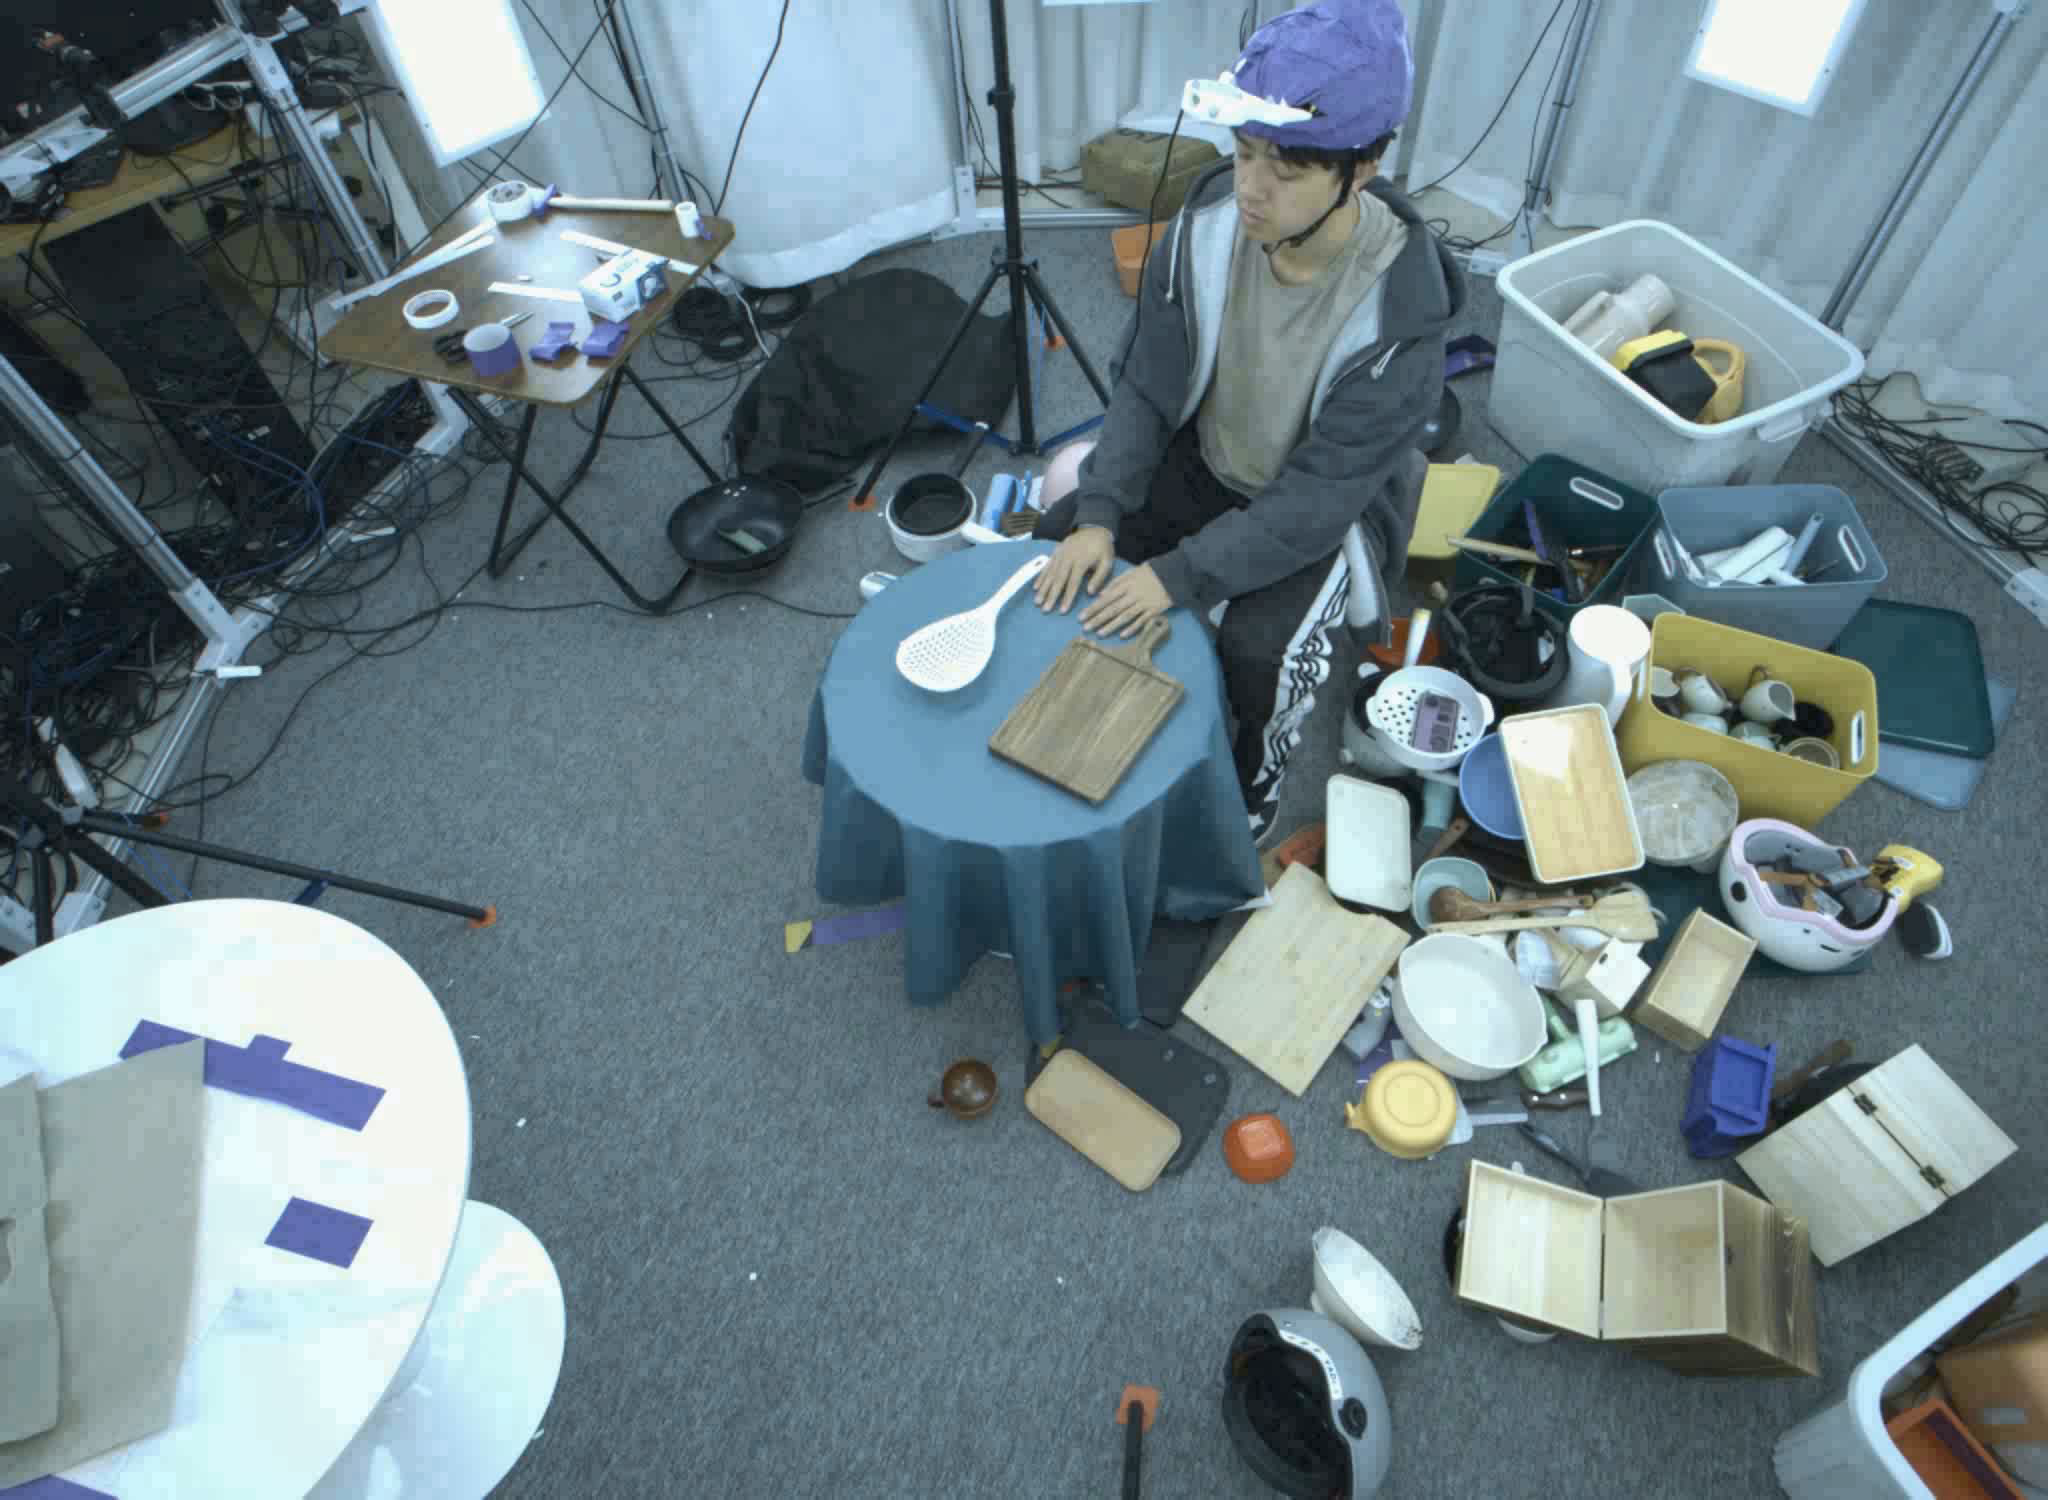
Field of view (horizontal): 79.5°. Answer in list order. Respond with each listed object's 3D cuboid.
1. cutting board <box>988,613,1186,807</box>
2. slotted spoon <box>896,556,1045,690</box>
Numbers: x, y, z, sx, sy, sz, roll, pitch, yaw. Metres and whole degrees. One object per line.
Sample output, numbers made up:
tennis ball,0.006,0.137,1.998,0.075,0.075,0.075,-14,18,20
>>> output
cutting board,0.122,-0.083,1.832,0.198,0.023,0.353,27,60,19
slotted spoon,-0.061,-0.208,1.914,0.134,0.051,0.349,26,60,22
